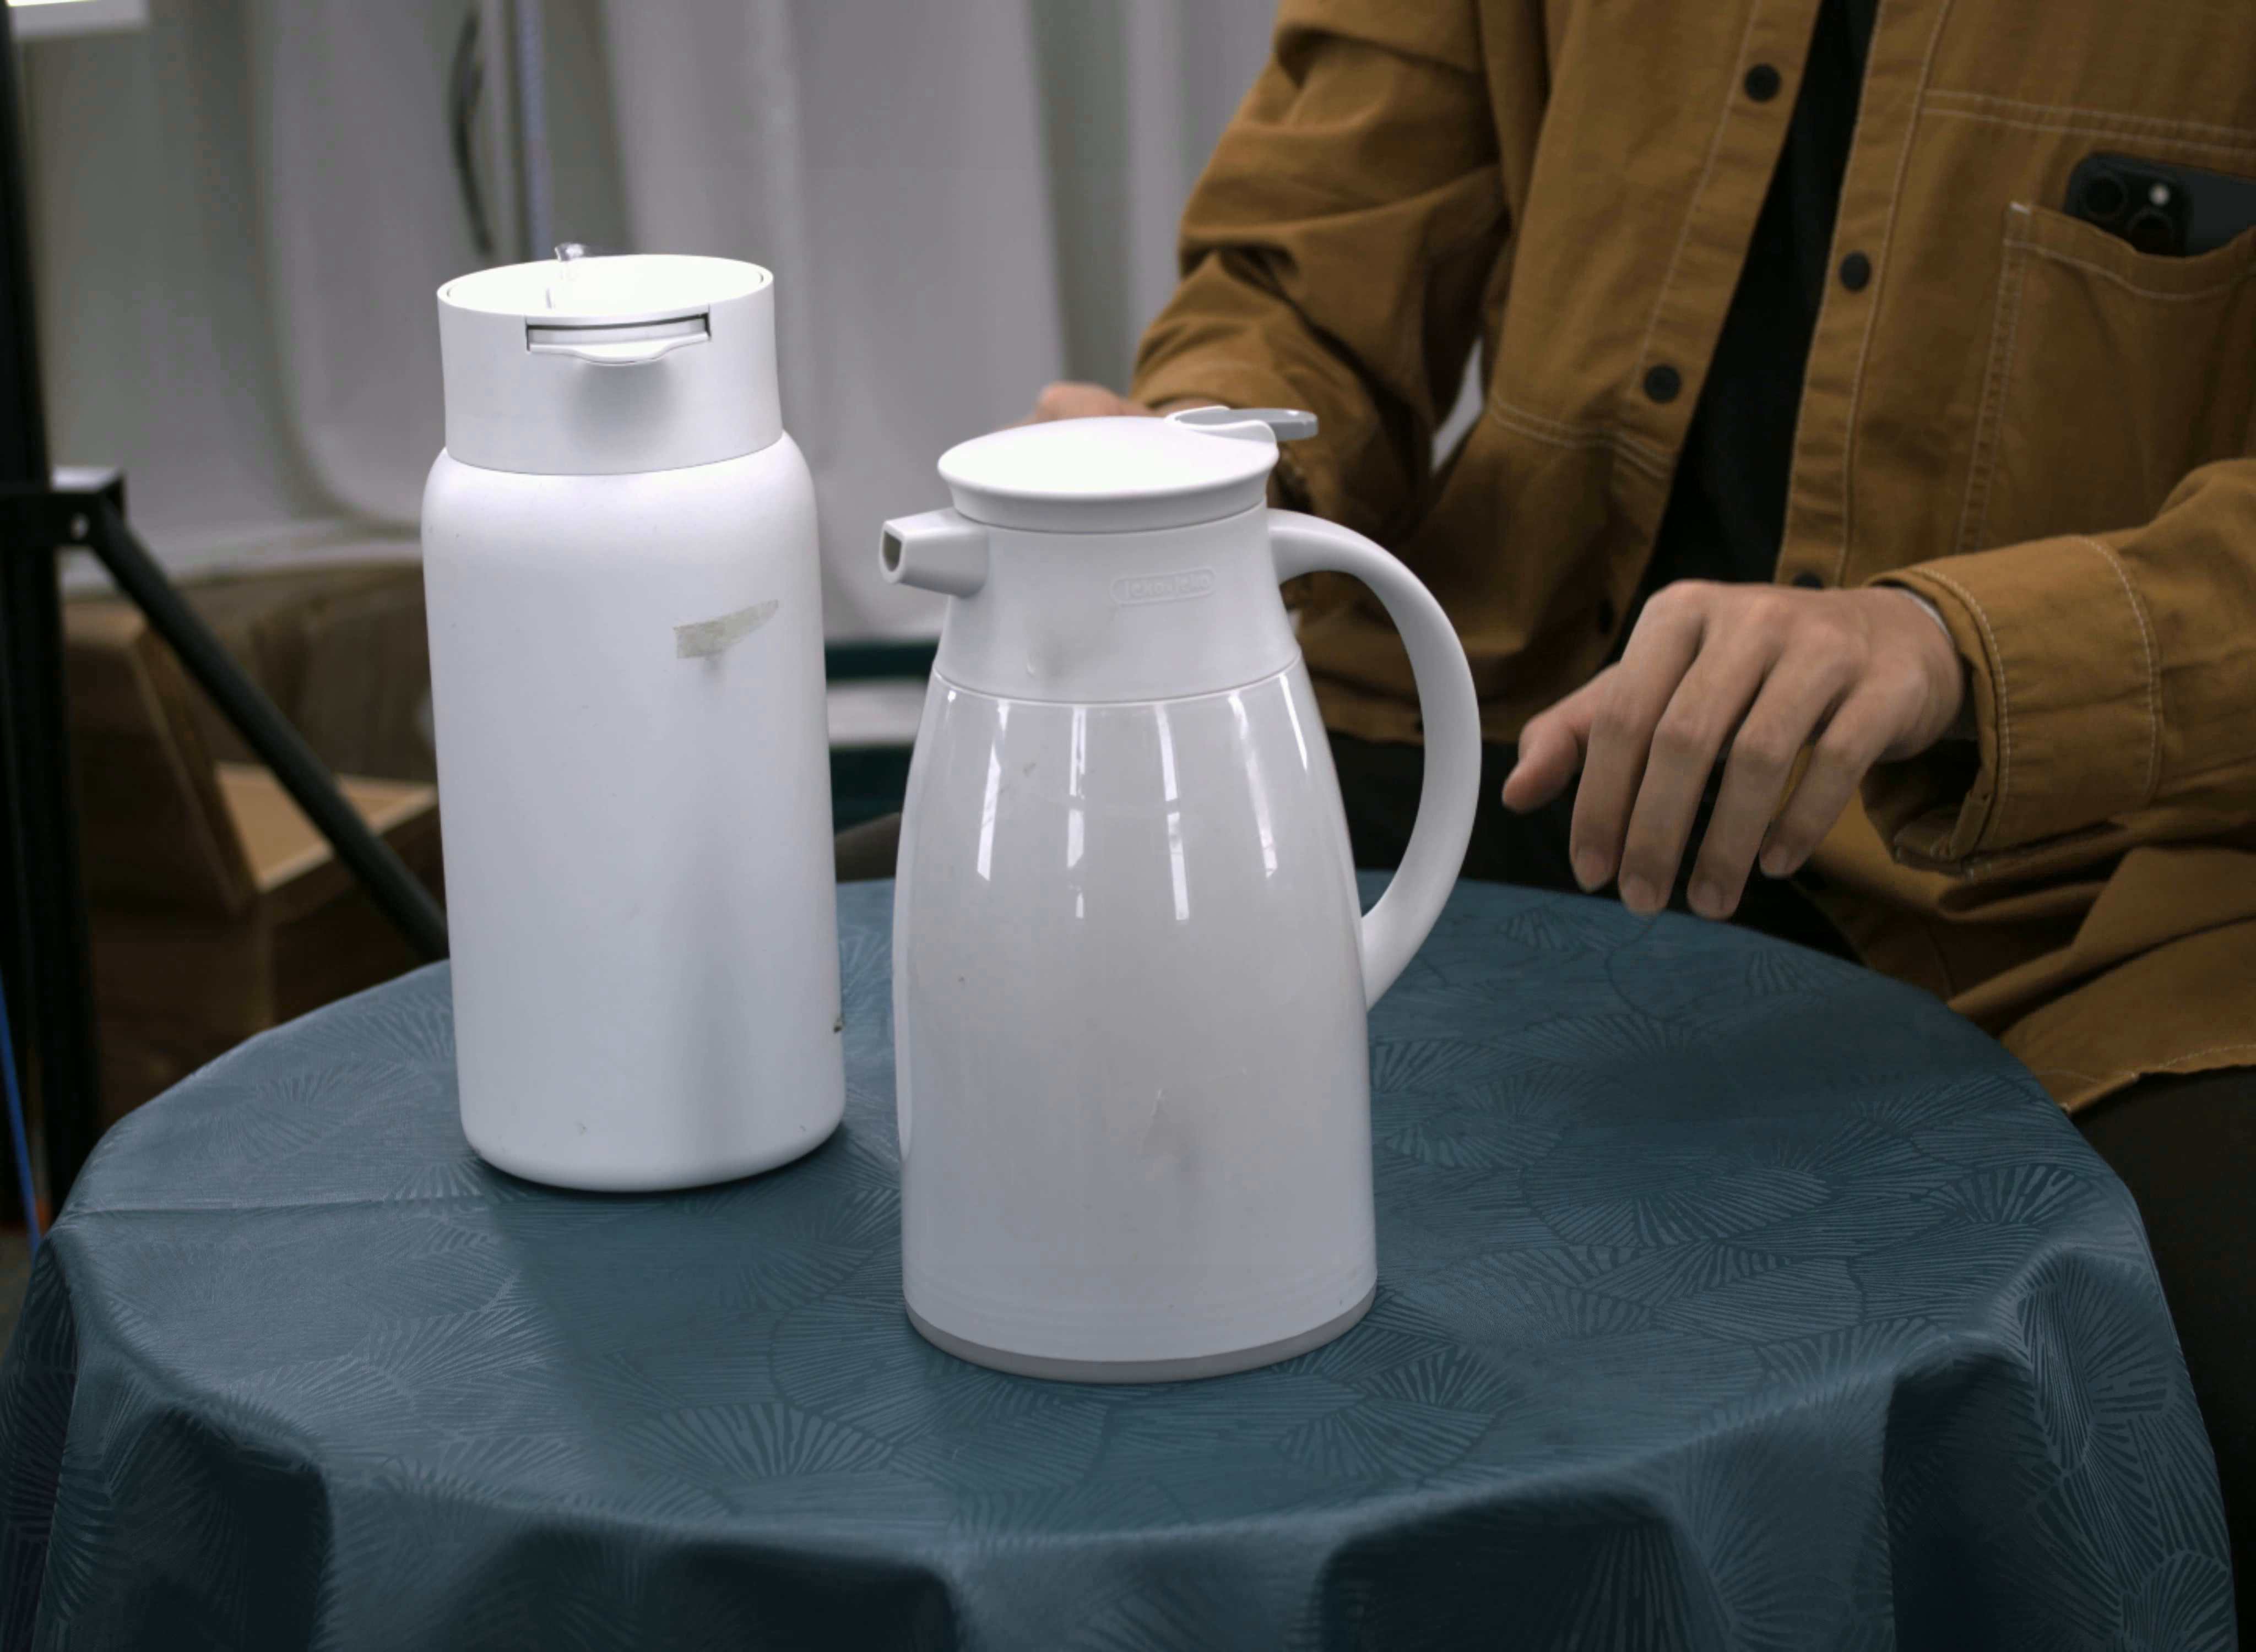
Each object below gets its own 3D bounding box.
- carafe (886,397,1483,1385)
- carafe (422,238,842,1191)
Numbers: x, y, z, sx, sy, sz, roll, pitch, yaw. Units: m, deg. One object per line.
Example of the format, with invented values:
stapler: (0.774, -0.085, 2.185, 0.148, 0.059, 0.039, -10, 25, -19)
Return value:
carafe: (0.017, 0.009, 1.446, 0.165, 0.248, 0.135, -6, 16, -19)
carafe: (-0.152, -0.037, 1.605, 0.122, 0.269, 0.175, -6, 15, -9)
